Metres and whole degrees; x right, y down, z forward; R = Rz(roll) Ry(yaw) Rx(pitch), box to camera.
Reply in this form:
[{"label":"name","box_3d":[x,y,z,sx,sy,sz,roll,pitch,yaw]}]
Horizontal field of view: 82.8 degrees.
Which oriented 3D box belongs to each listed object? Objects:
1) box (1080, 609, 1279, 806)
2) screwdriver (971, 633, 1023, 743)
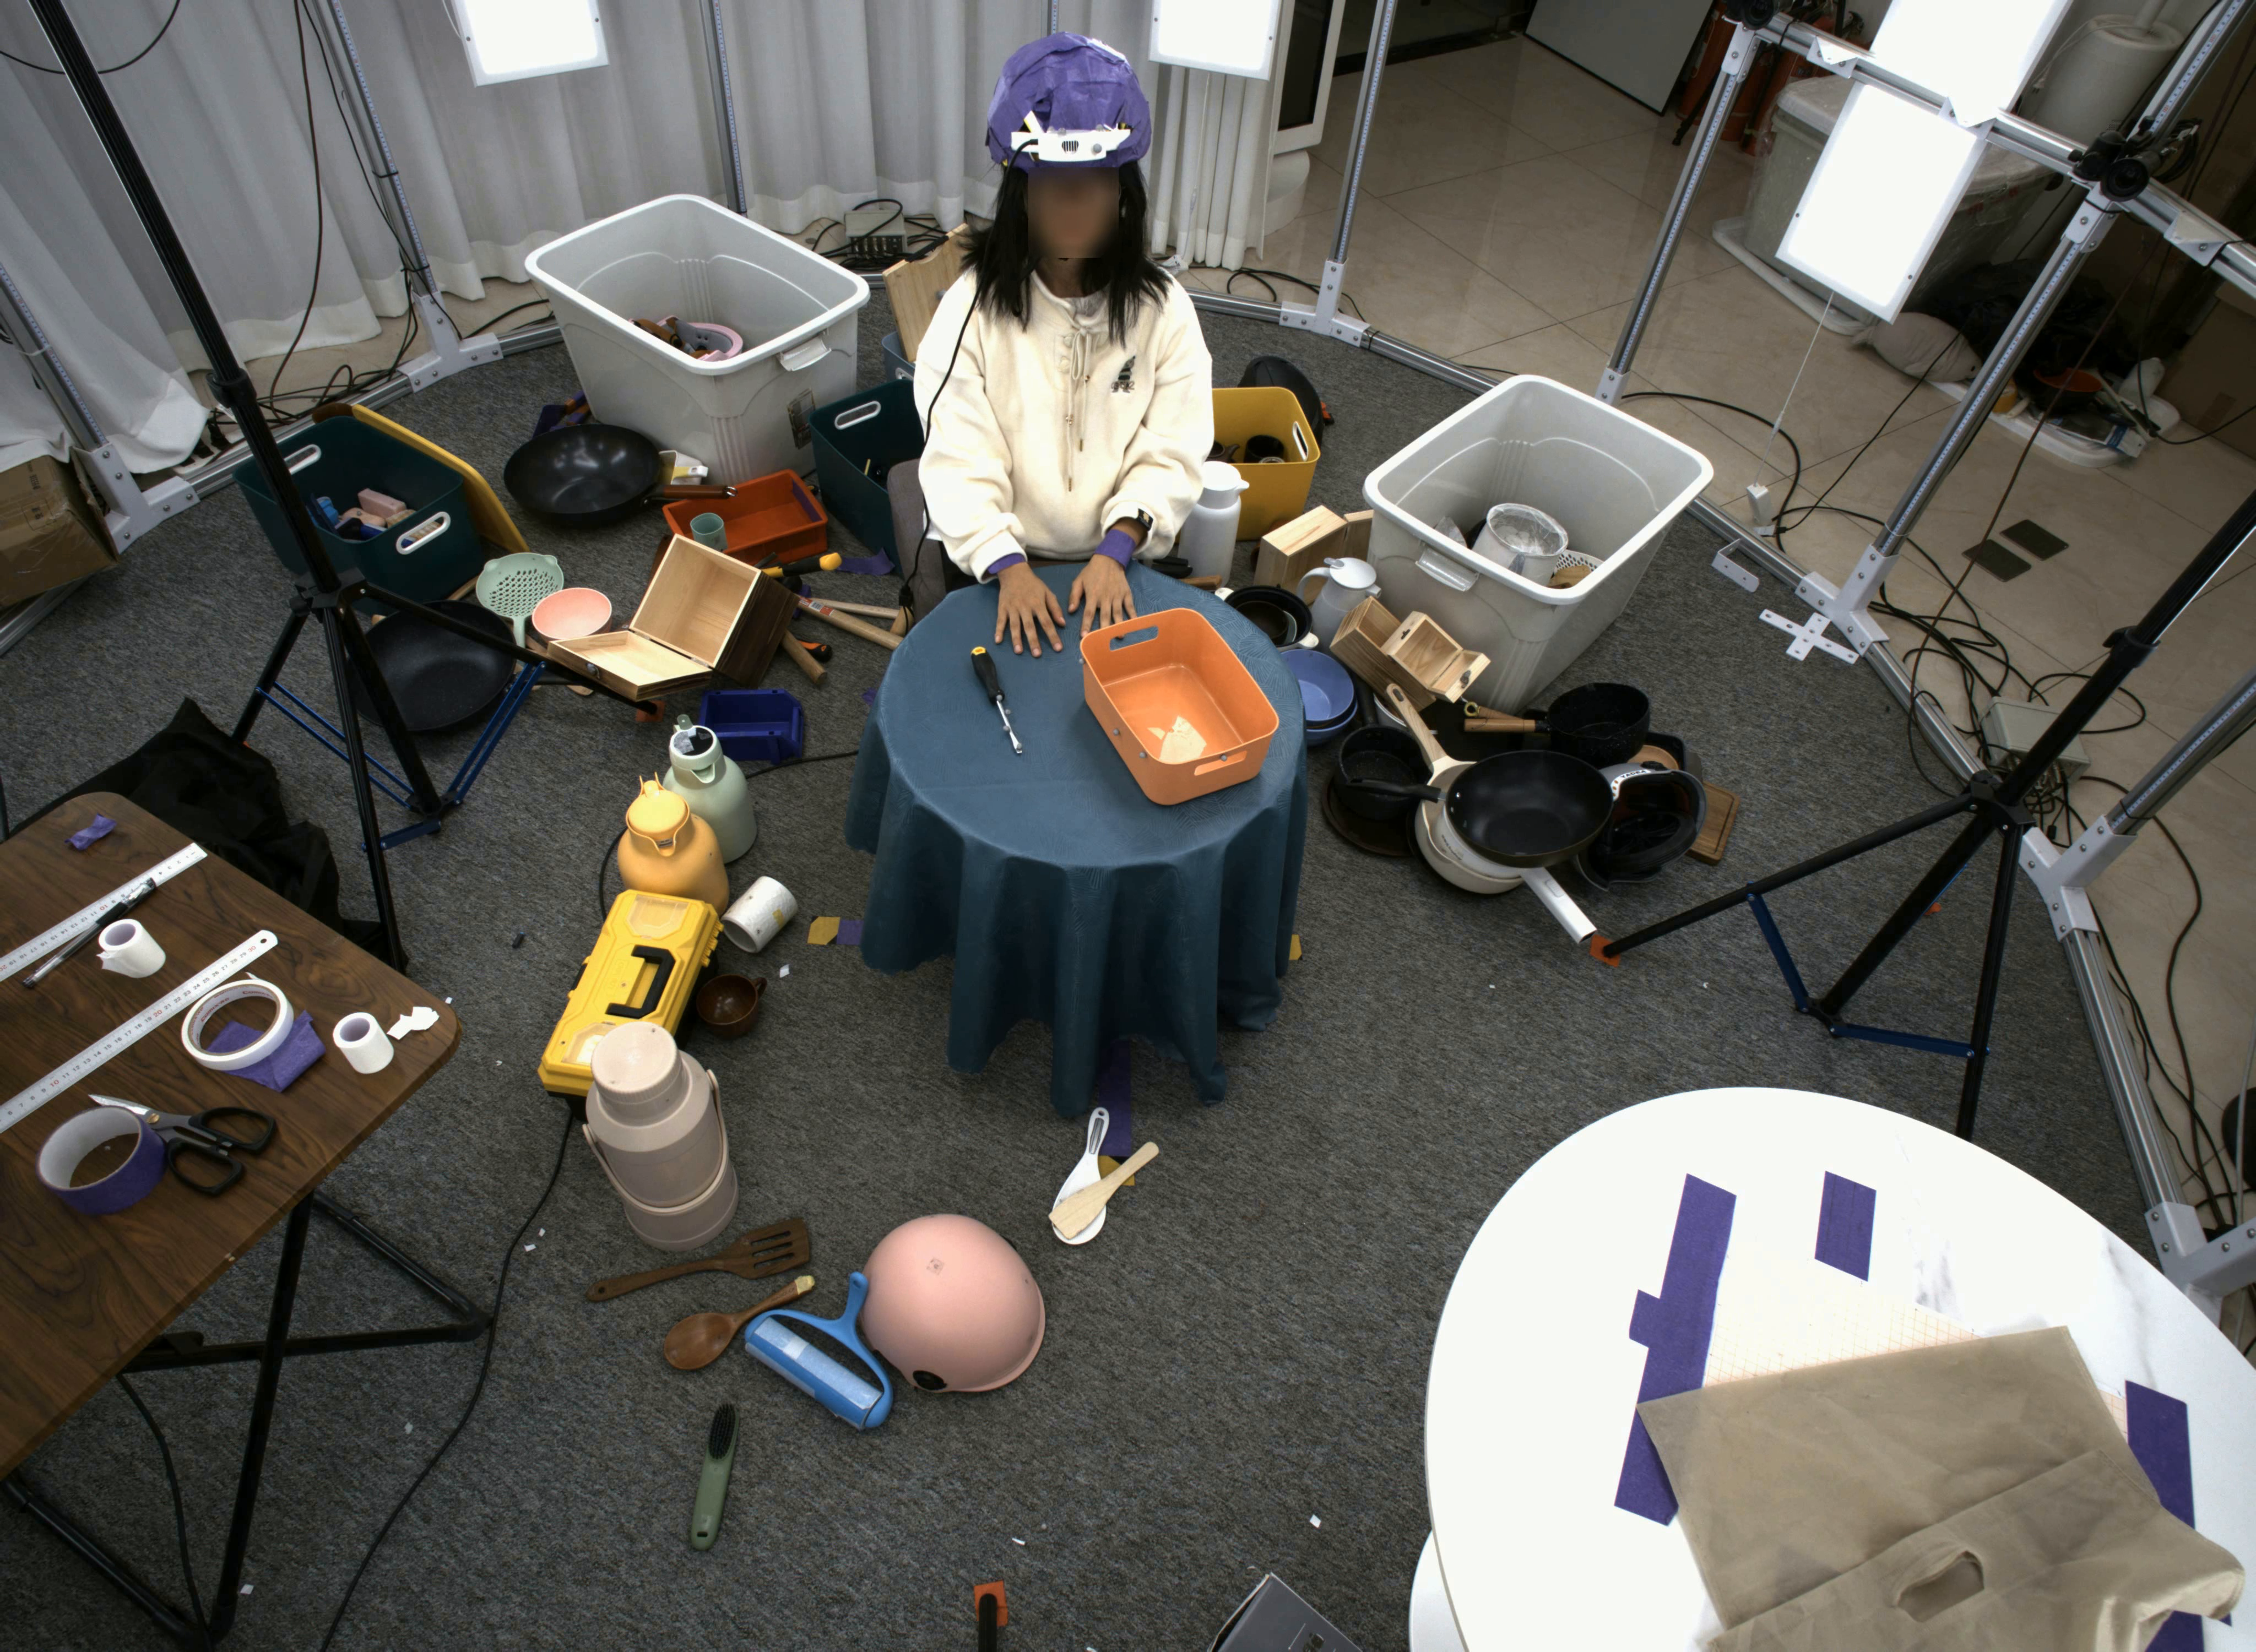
[{"label":"box","box_3d":[0.064,-0.161,1.747,0.200,0.100,0.279,-19,53,-18]},{"label":"screwdriver","box_3d":[-0.177,-0.193,1.795,0.031,0.031,0.202,-16,60,-18]}]
